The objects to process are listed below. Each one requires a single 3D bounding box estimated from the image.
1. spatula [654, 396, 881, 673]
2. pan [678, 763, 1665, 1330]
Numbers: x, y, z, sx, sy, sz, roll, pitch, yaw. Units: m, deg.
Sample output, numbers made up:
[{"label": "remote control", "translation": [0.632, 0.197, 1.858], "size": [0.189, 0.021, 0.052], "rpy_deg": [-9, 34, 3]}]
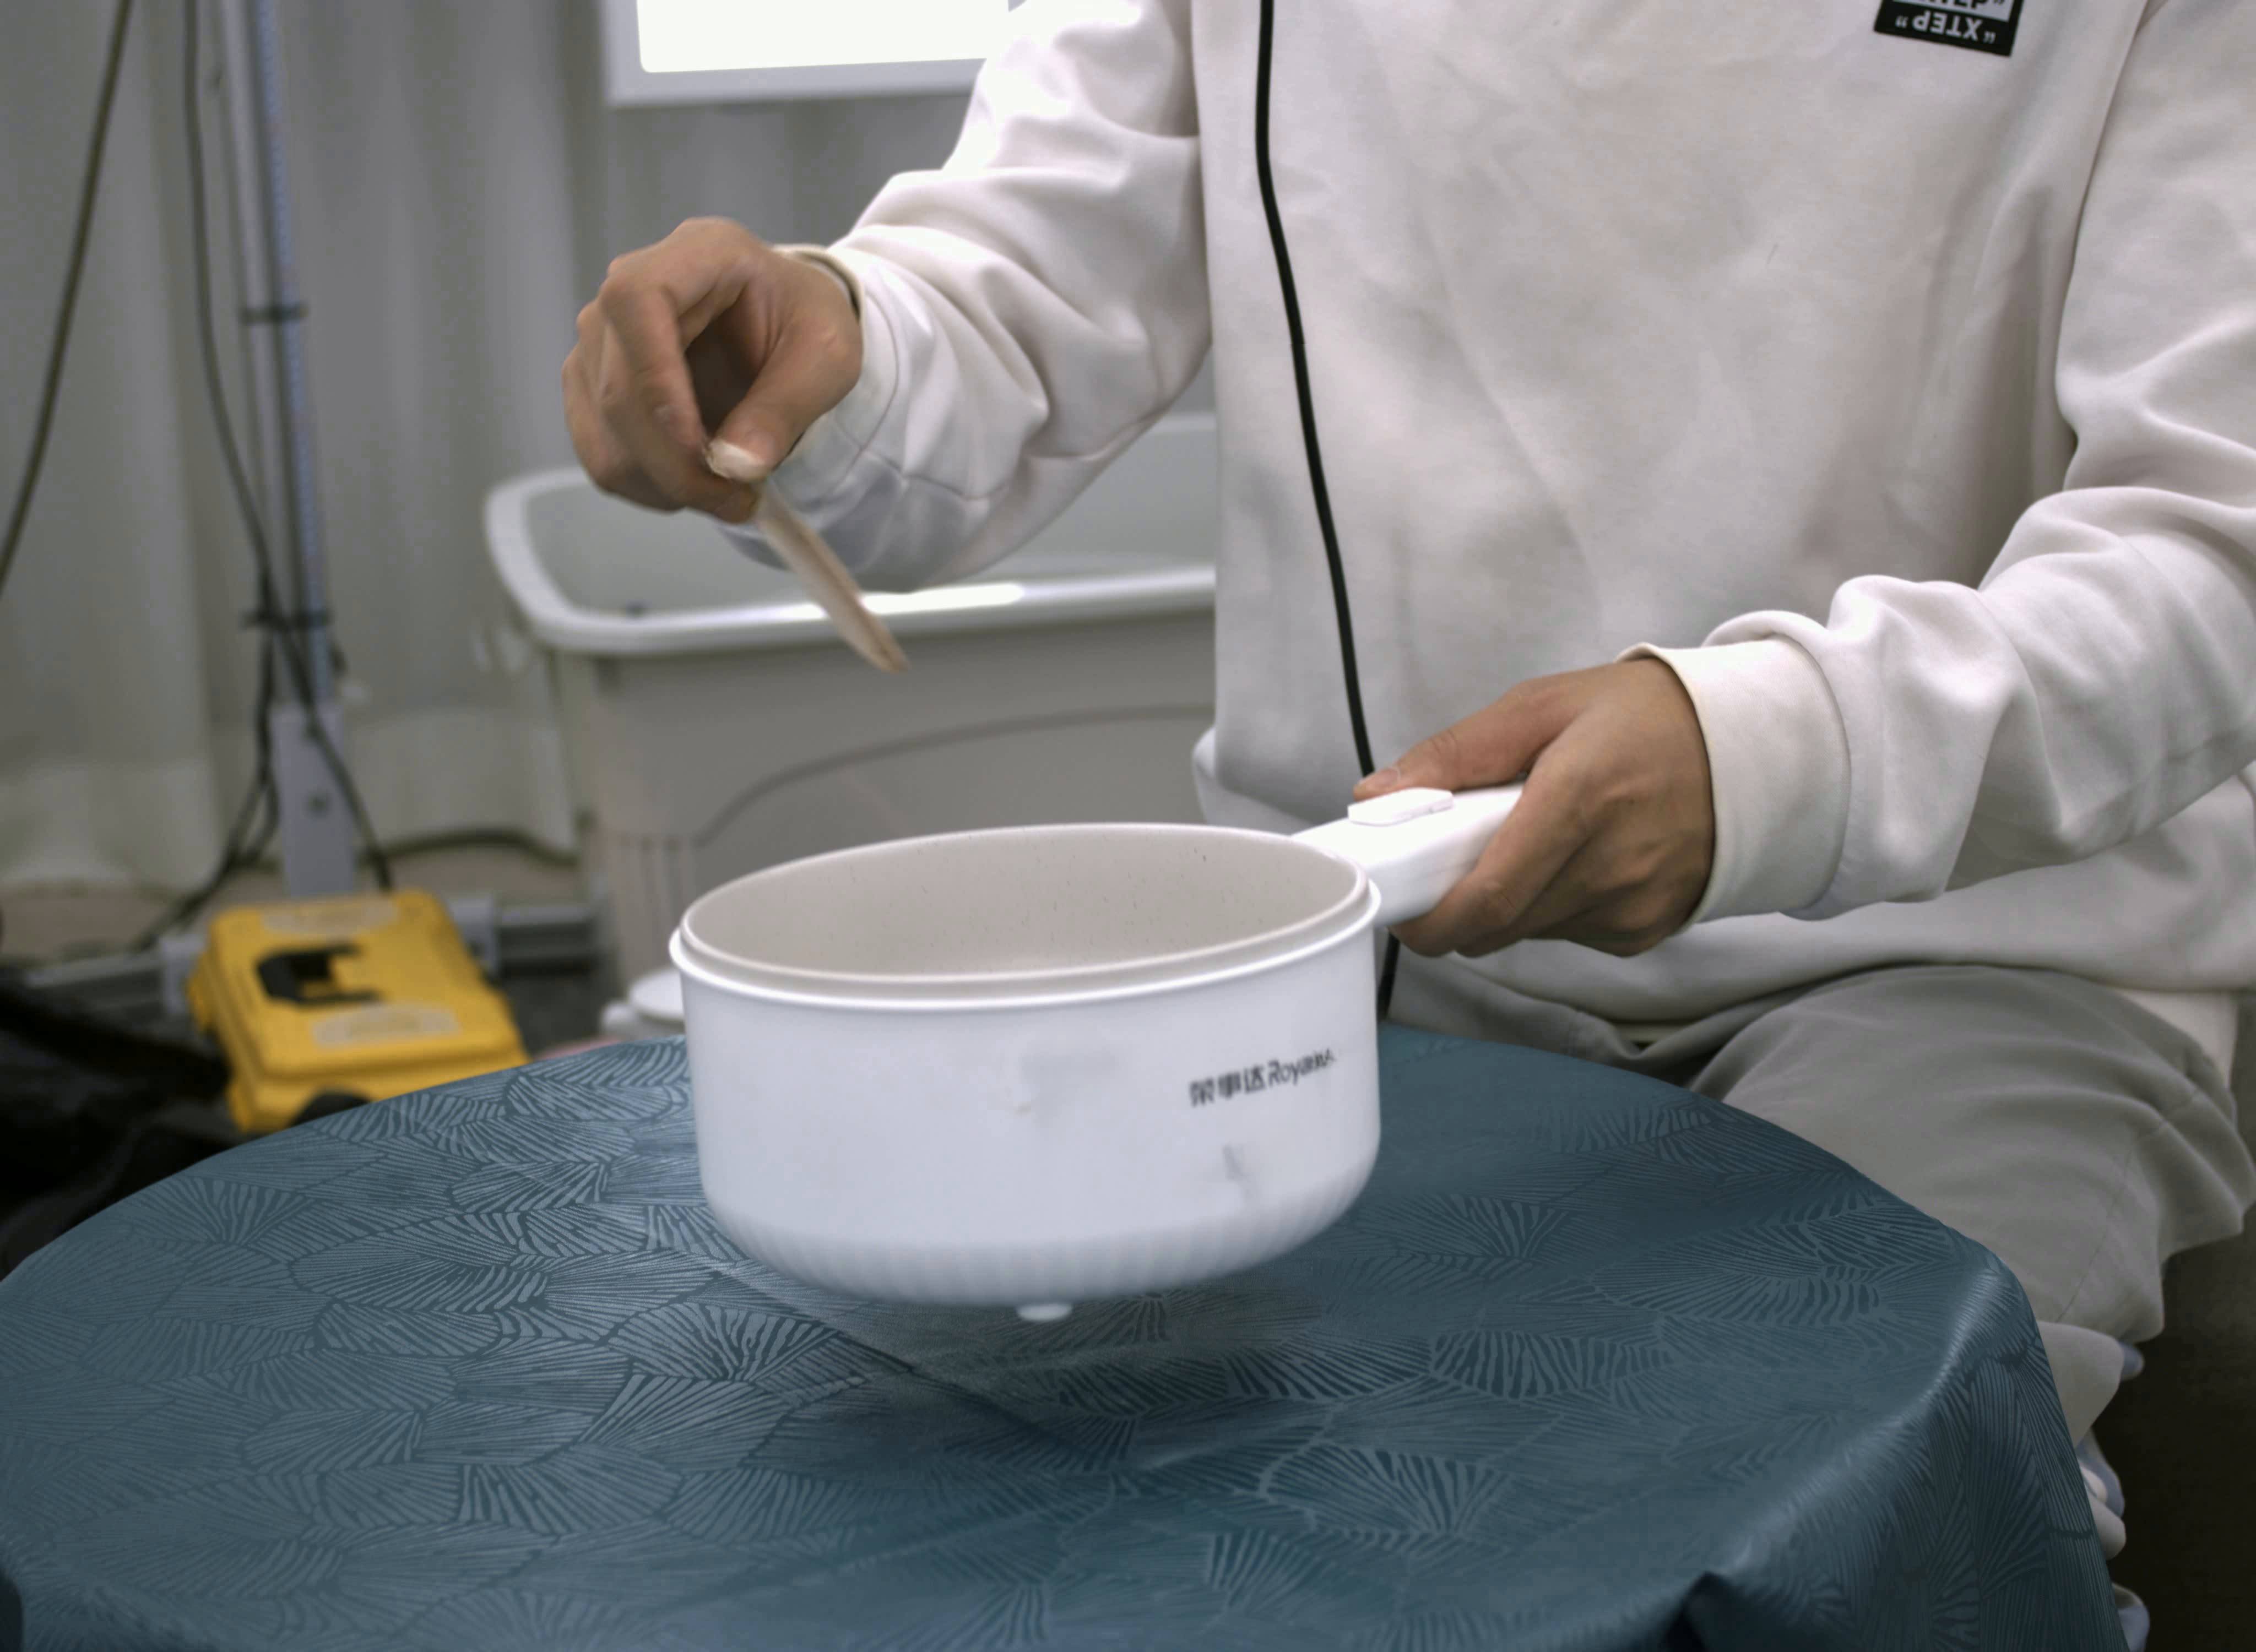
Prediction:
[{"label": "spatula", "translation": [-0.118, -0.099, 1.642], "size": [0.010, 0.072, 0.295], "rpy_deg": [-38, 17, -1]}, {"label": "pan", "translation": [0.030, 0.059, 1.602], "size": [0.202, 0.102, 0.354], "rpy_deg": [6, 14, 45]}]
